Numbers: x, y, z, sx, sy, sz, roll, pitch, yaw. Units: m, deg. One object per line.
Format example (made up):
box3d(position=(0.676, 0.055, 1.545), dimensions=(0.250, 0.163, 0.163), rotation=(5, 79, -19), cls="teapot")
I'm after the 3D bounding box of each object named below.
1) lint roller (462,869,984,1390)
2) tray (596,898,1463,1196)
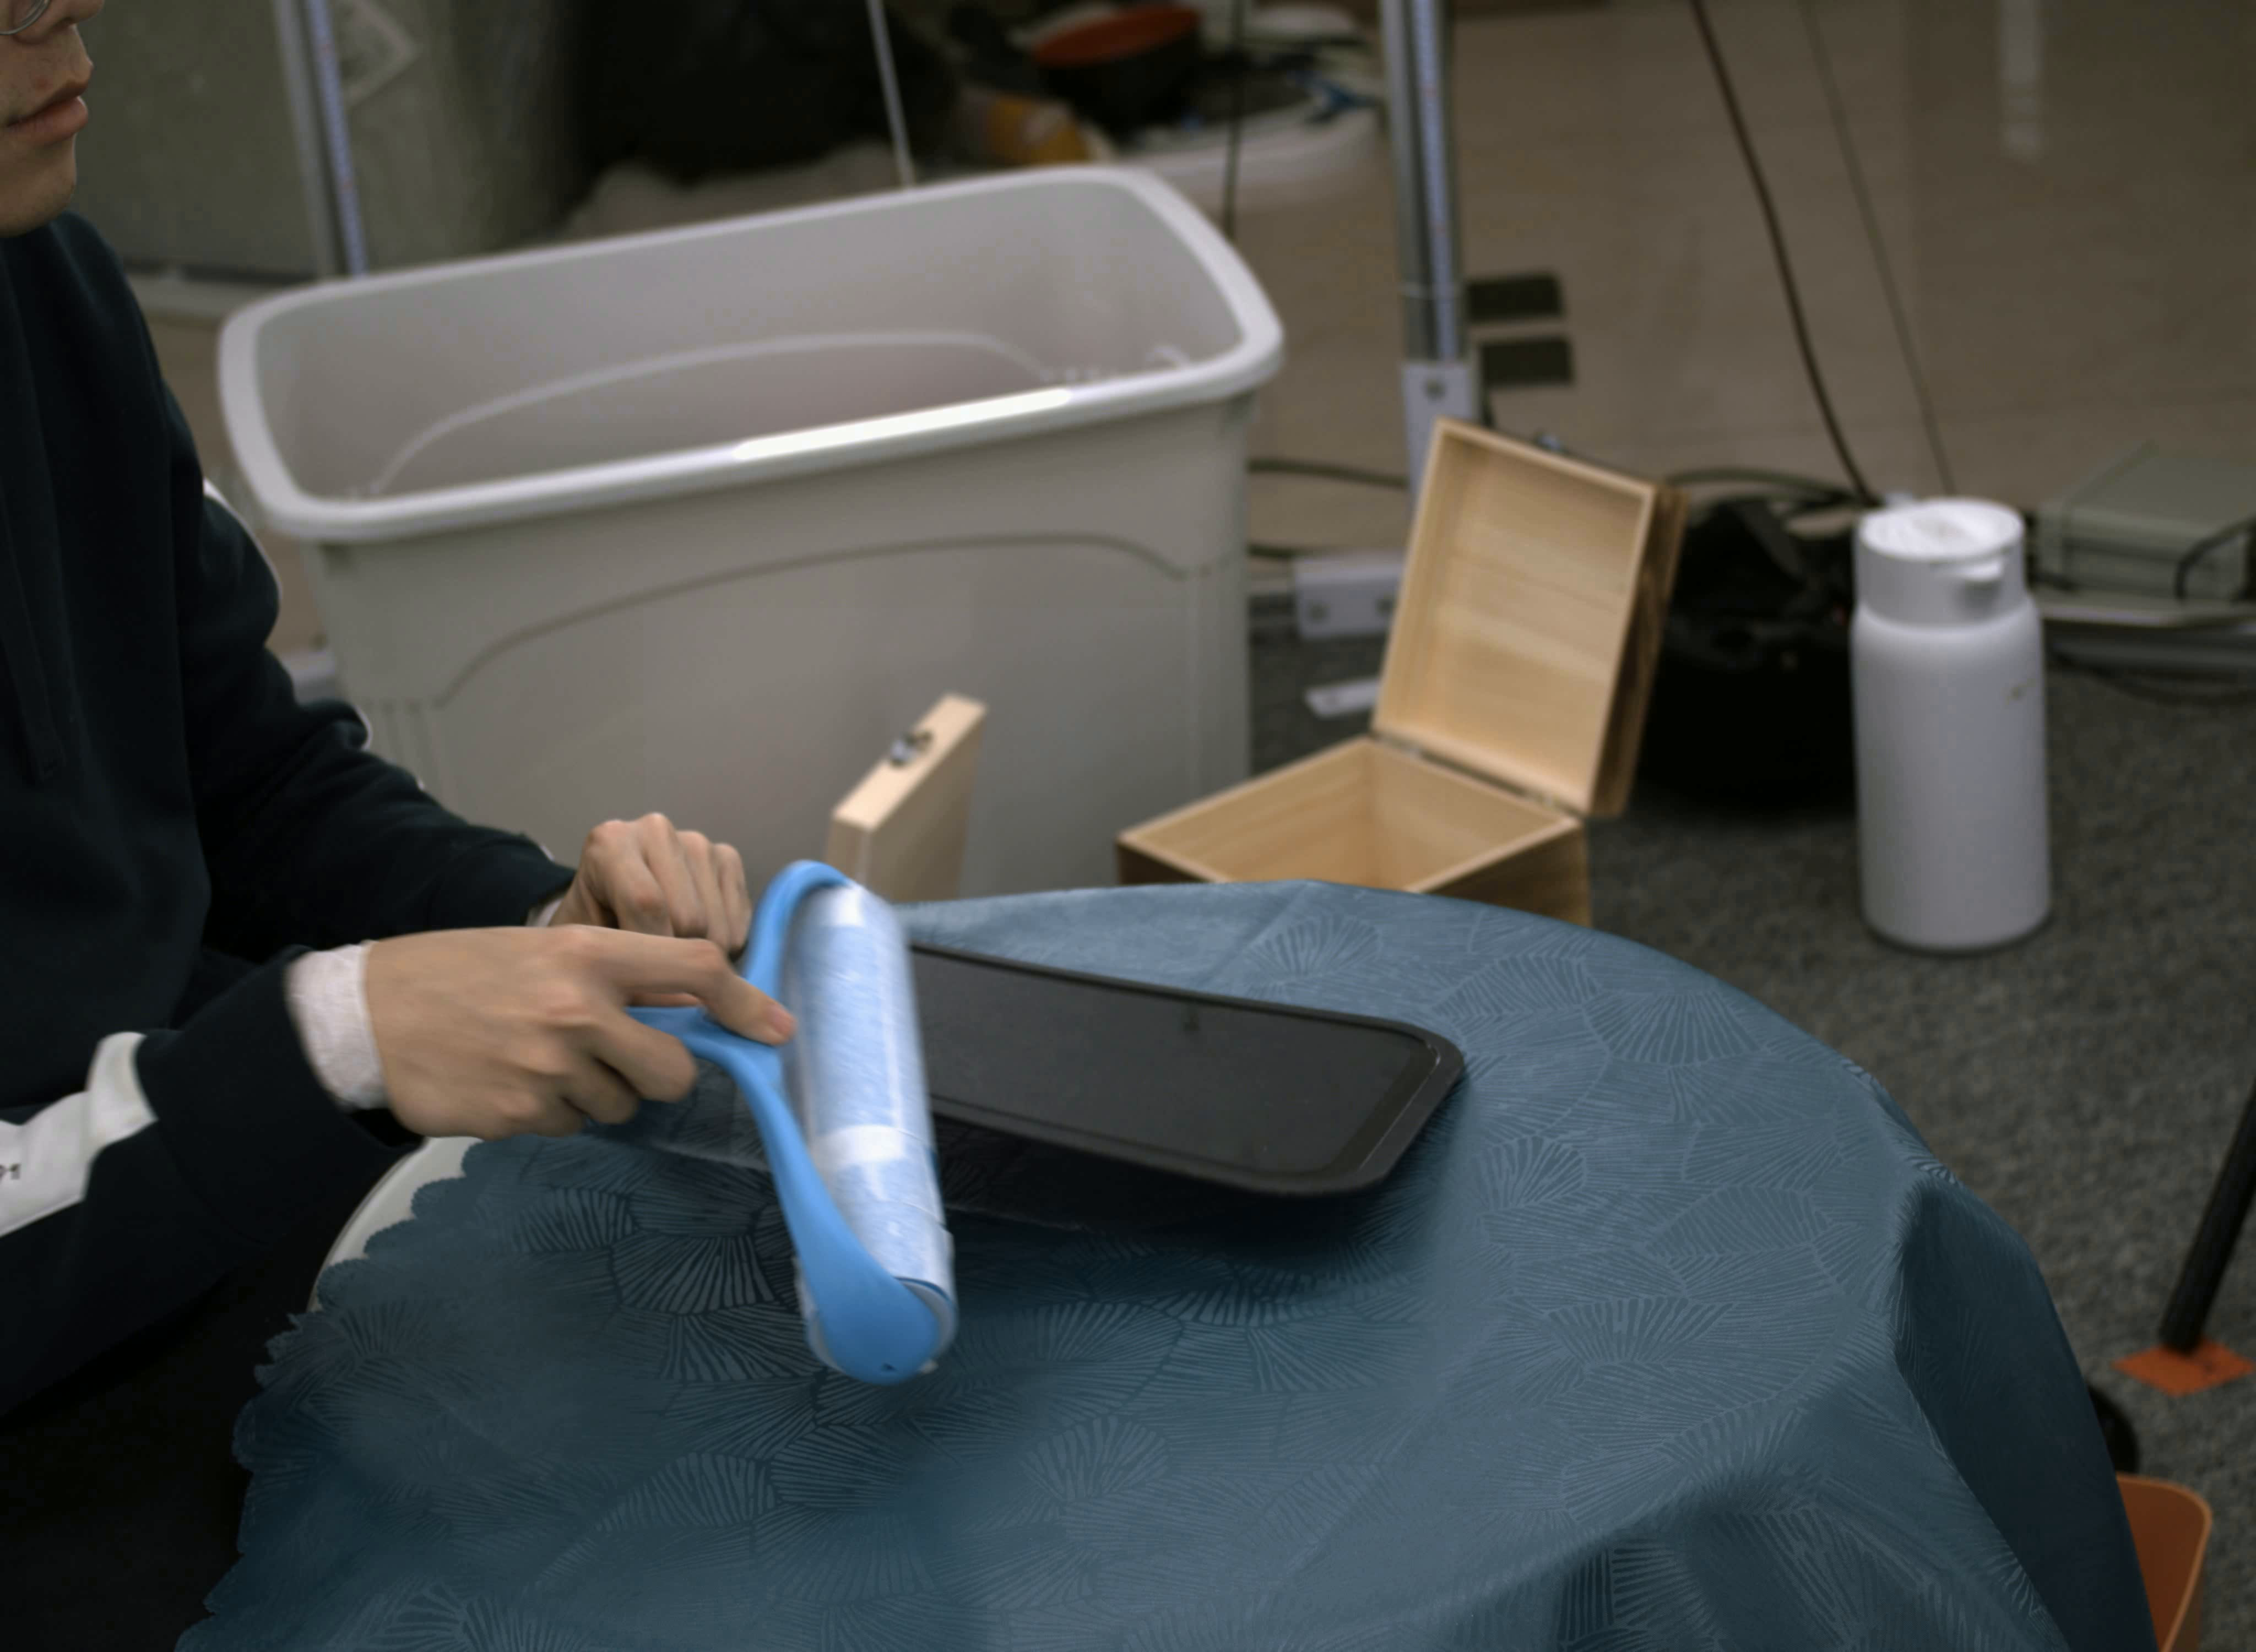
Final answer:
box3d(position=(-0.141, 0.097, 2.014), dimensions=(0.181, 0.069, 0.225), rotation=(13, 42, -25), cls="lint roller")
box3d(position=(-0.042, 0.080, 2.175), dimensions=(0.324, 0.010, 0.209), rotation=(13, 18, 14), cls="tray")
